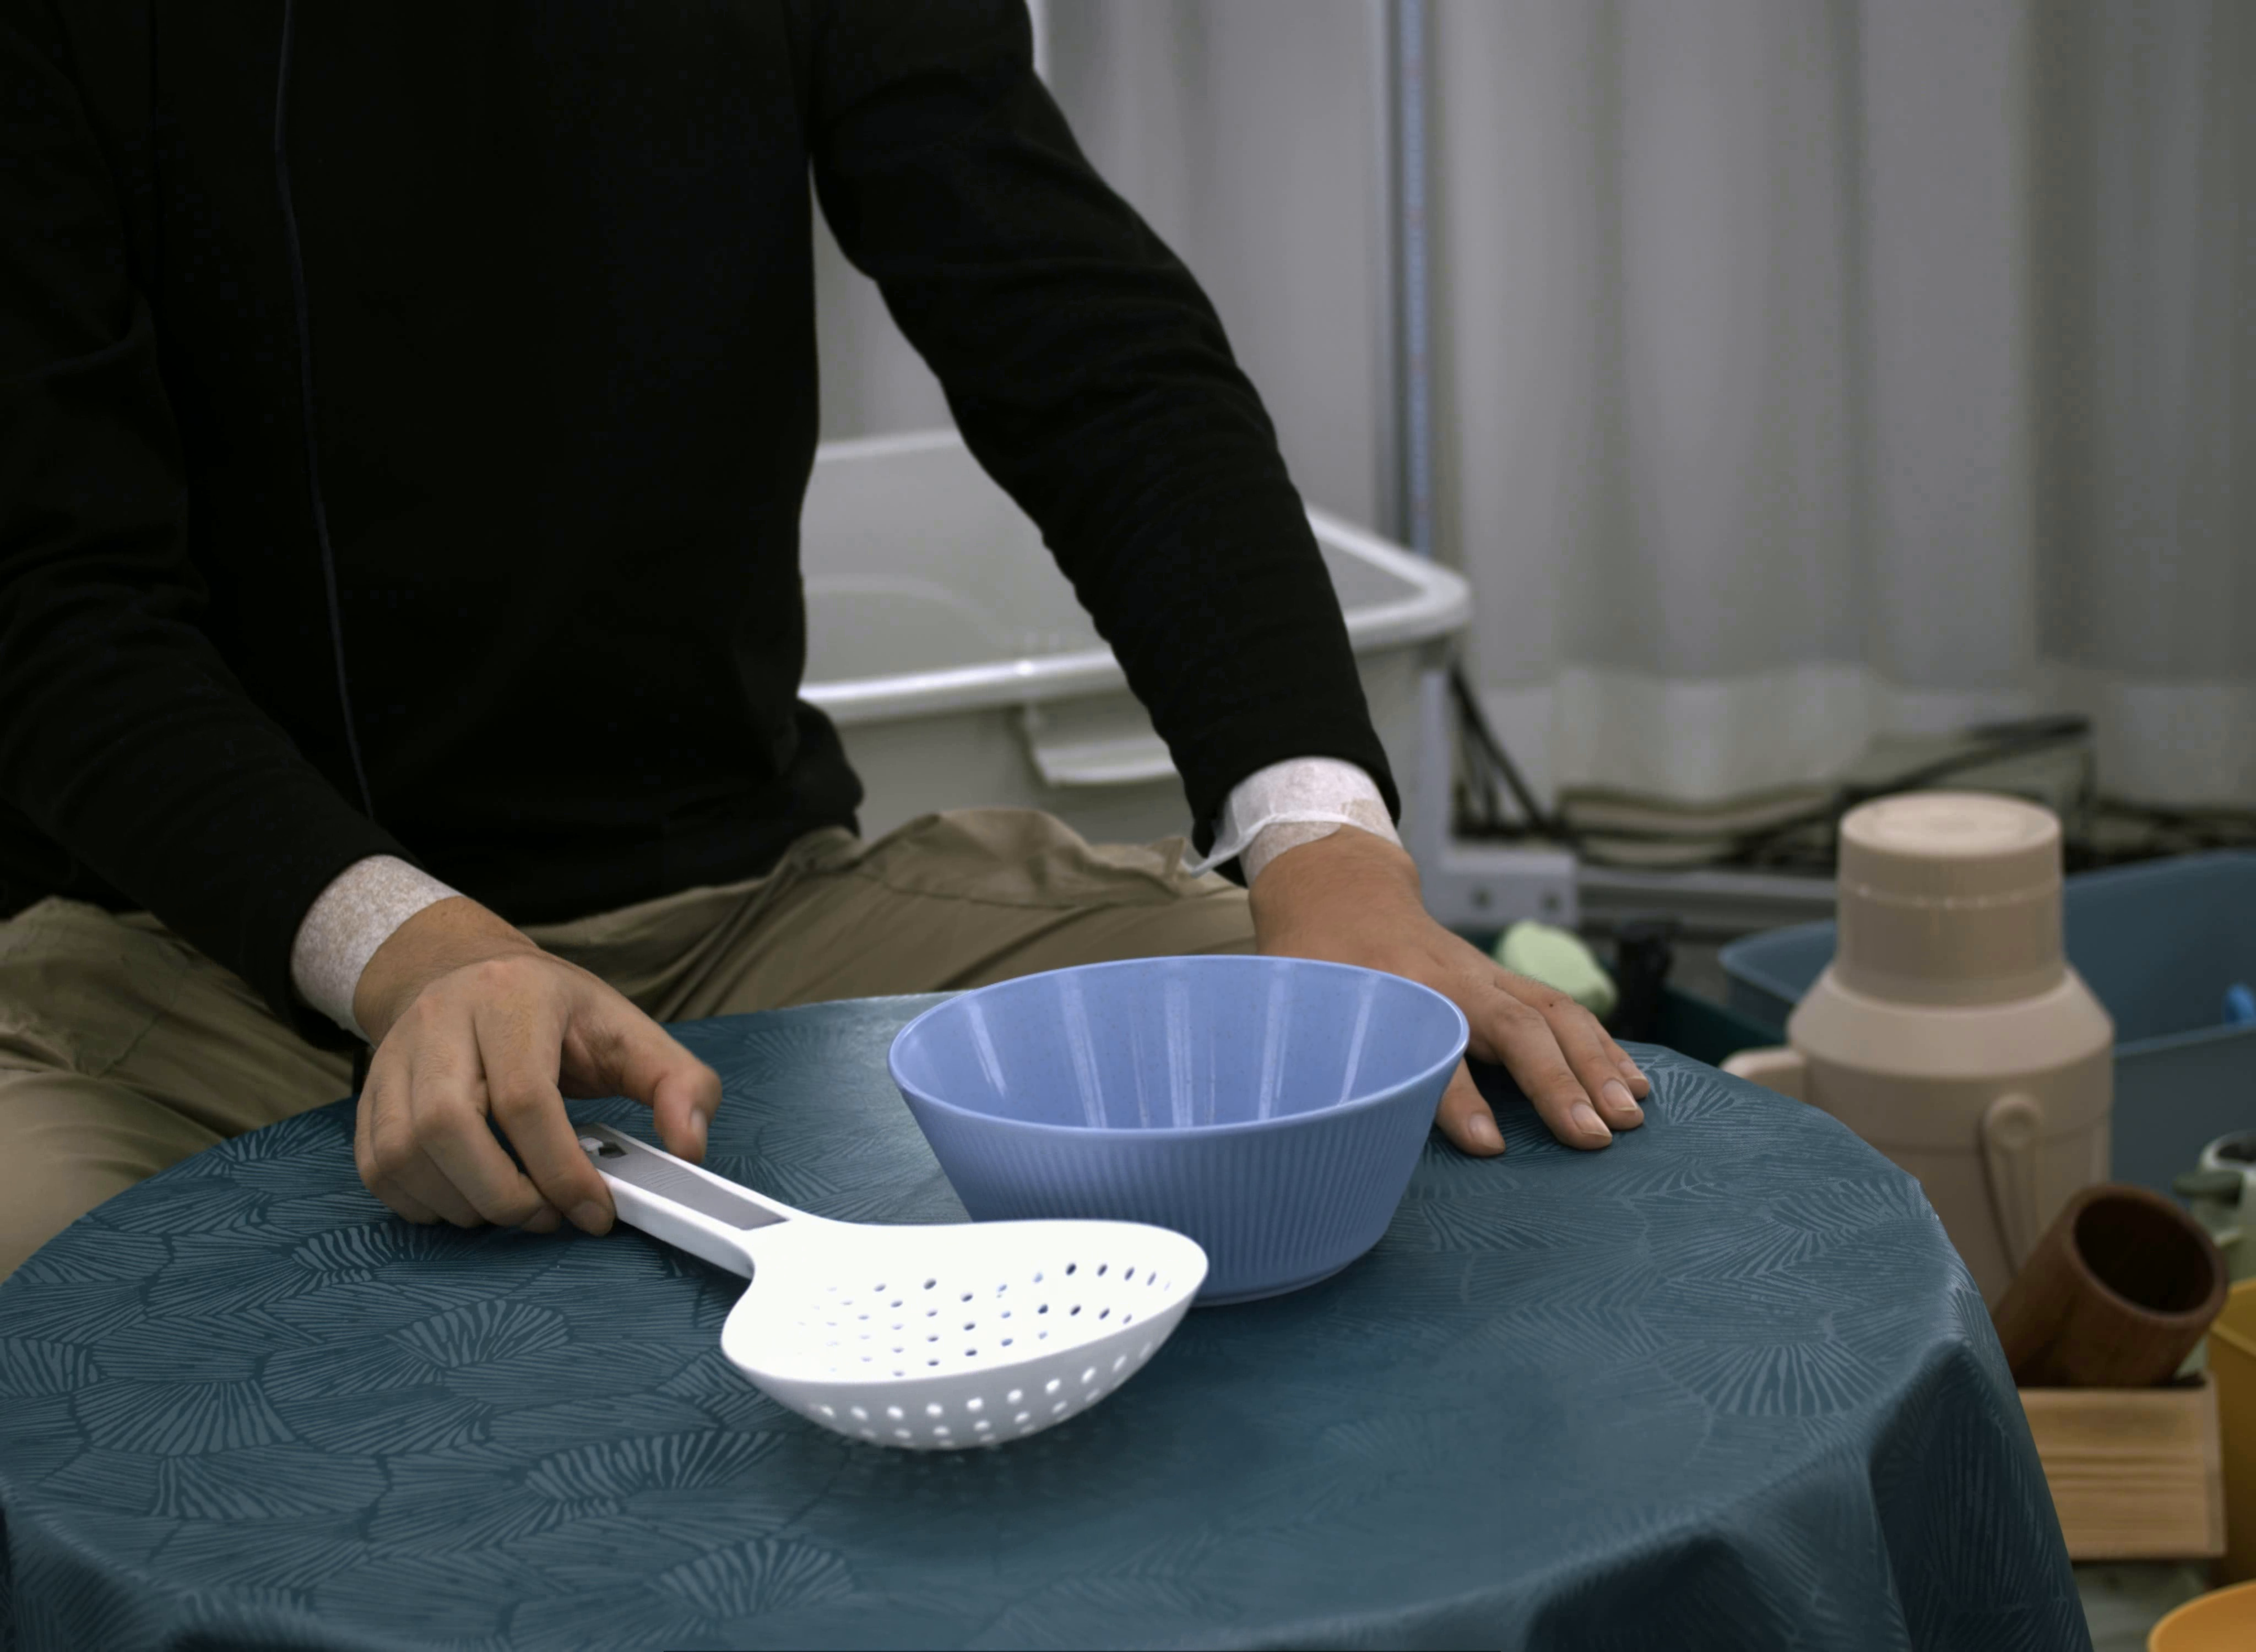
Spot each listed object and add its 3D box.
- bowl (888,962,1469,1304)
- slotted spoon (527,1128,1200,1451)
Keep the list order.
[{"bbox_3d":[0.017,0.095,1.651,0.175,0.070,0.177,-4,14,1],"label":"bowl"},{"bbox_3d":[-0.098,0.125,1.603,0.136,0.045,0.352,-18,19,-26],"label":"slotted spoon"}]
